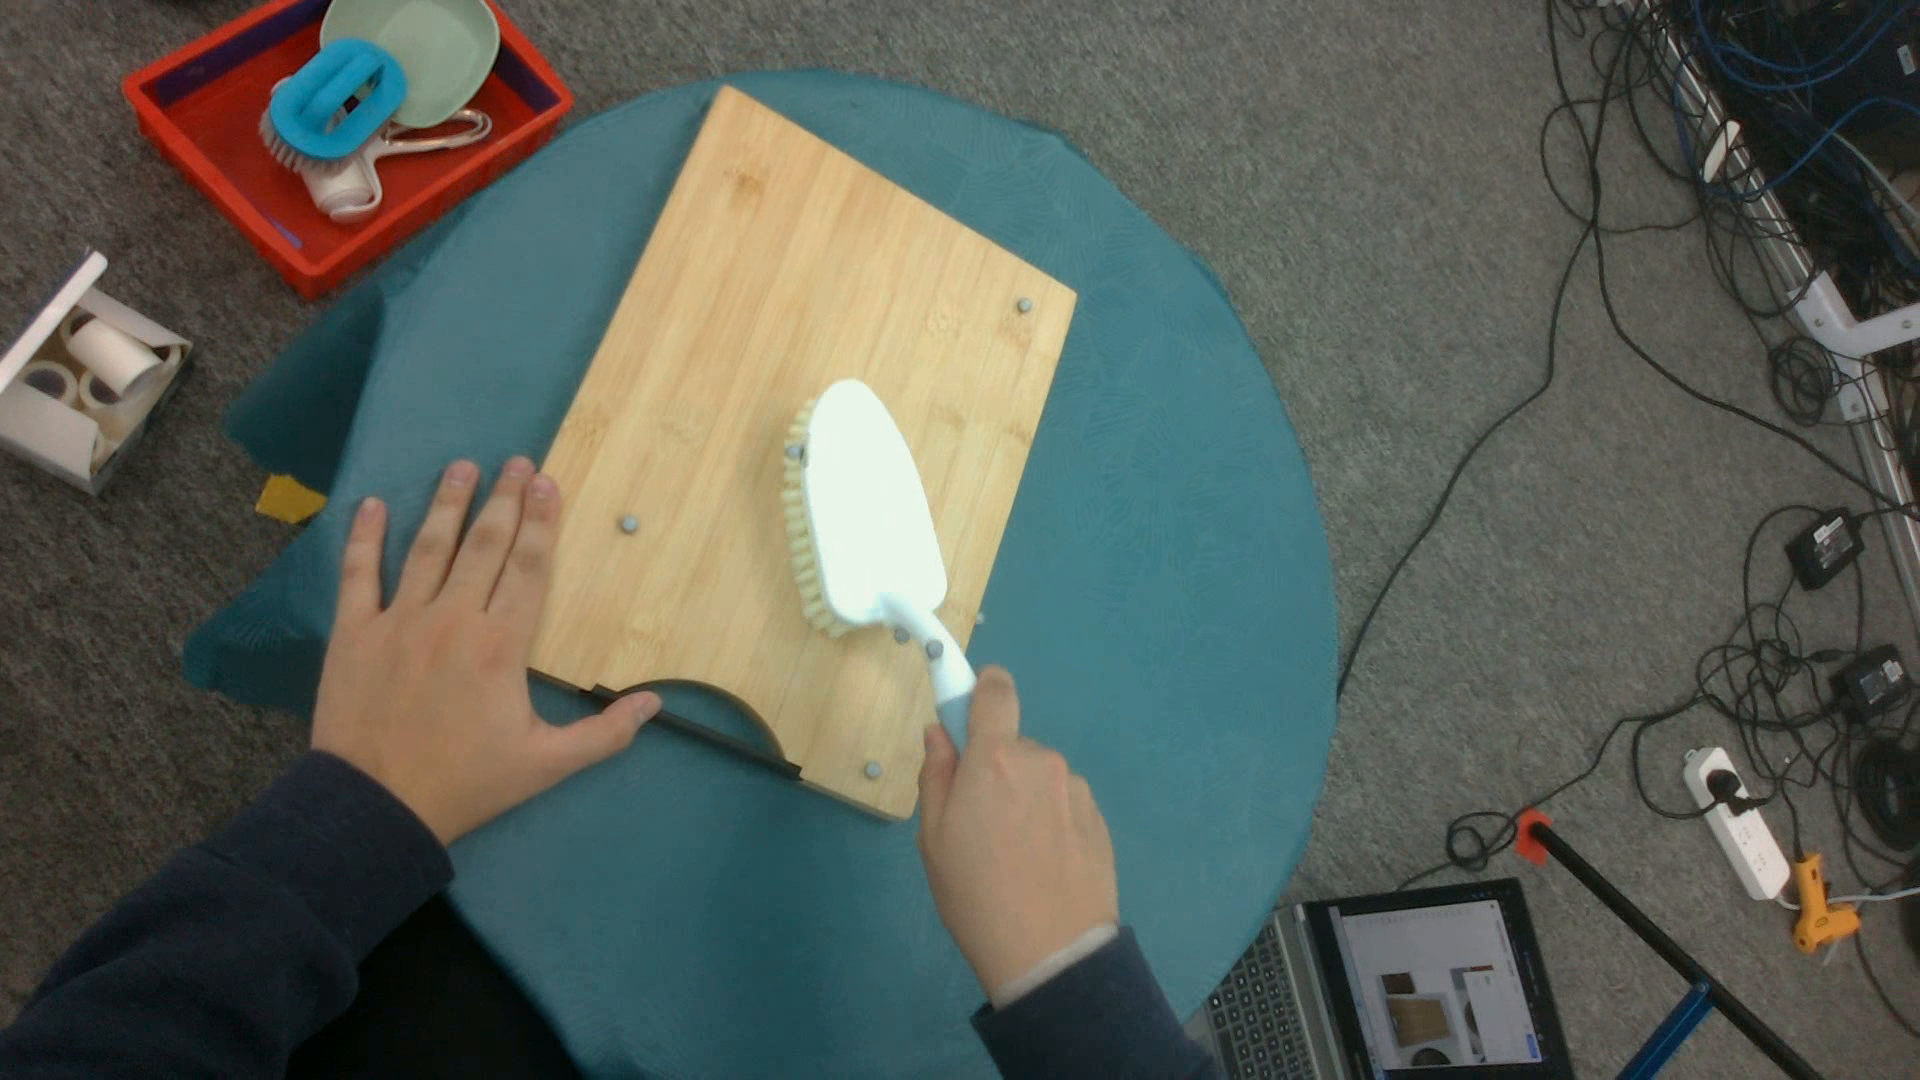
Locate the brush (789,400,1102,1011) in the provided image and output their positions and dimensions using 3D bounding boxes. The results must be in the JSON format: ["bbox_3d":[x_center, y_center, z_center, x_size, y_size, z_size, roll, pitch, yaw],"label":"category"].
[{"bbox_3d":[-0.020,0.081,0.689,0.083,0.084,0.326,-22,69,1],"label":"brush"}]

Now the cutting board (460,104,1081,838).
[{"bbox_3d":[-0.081,-0.043,0.757,0.251,0.023,0.350,26,66,-19],"label":"cutting board"}]
